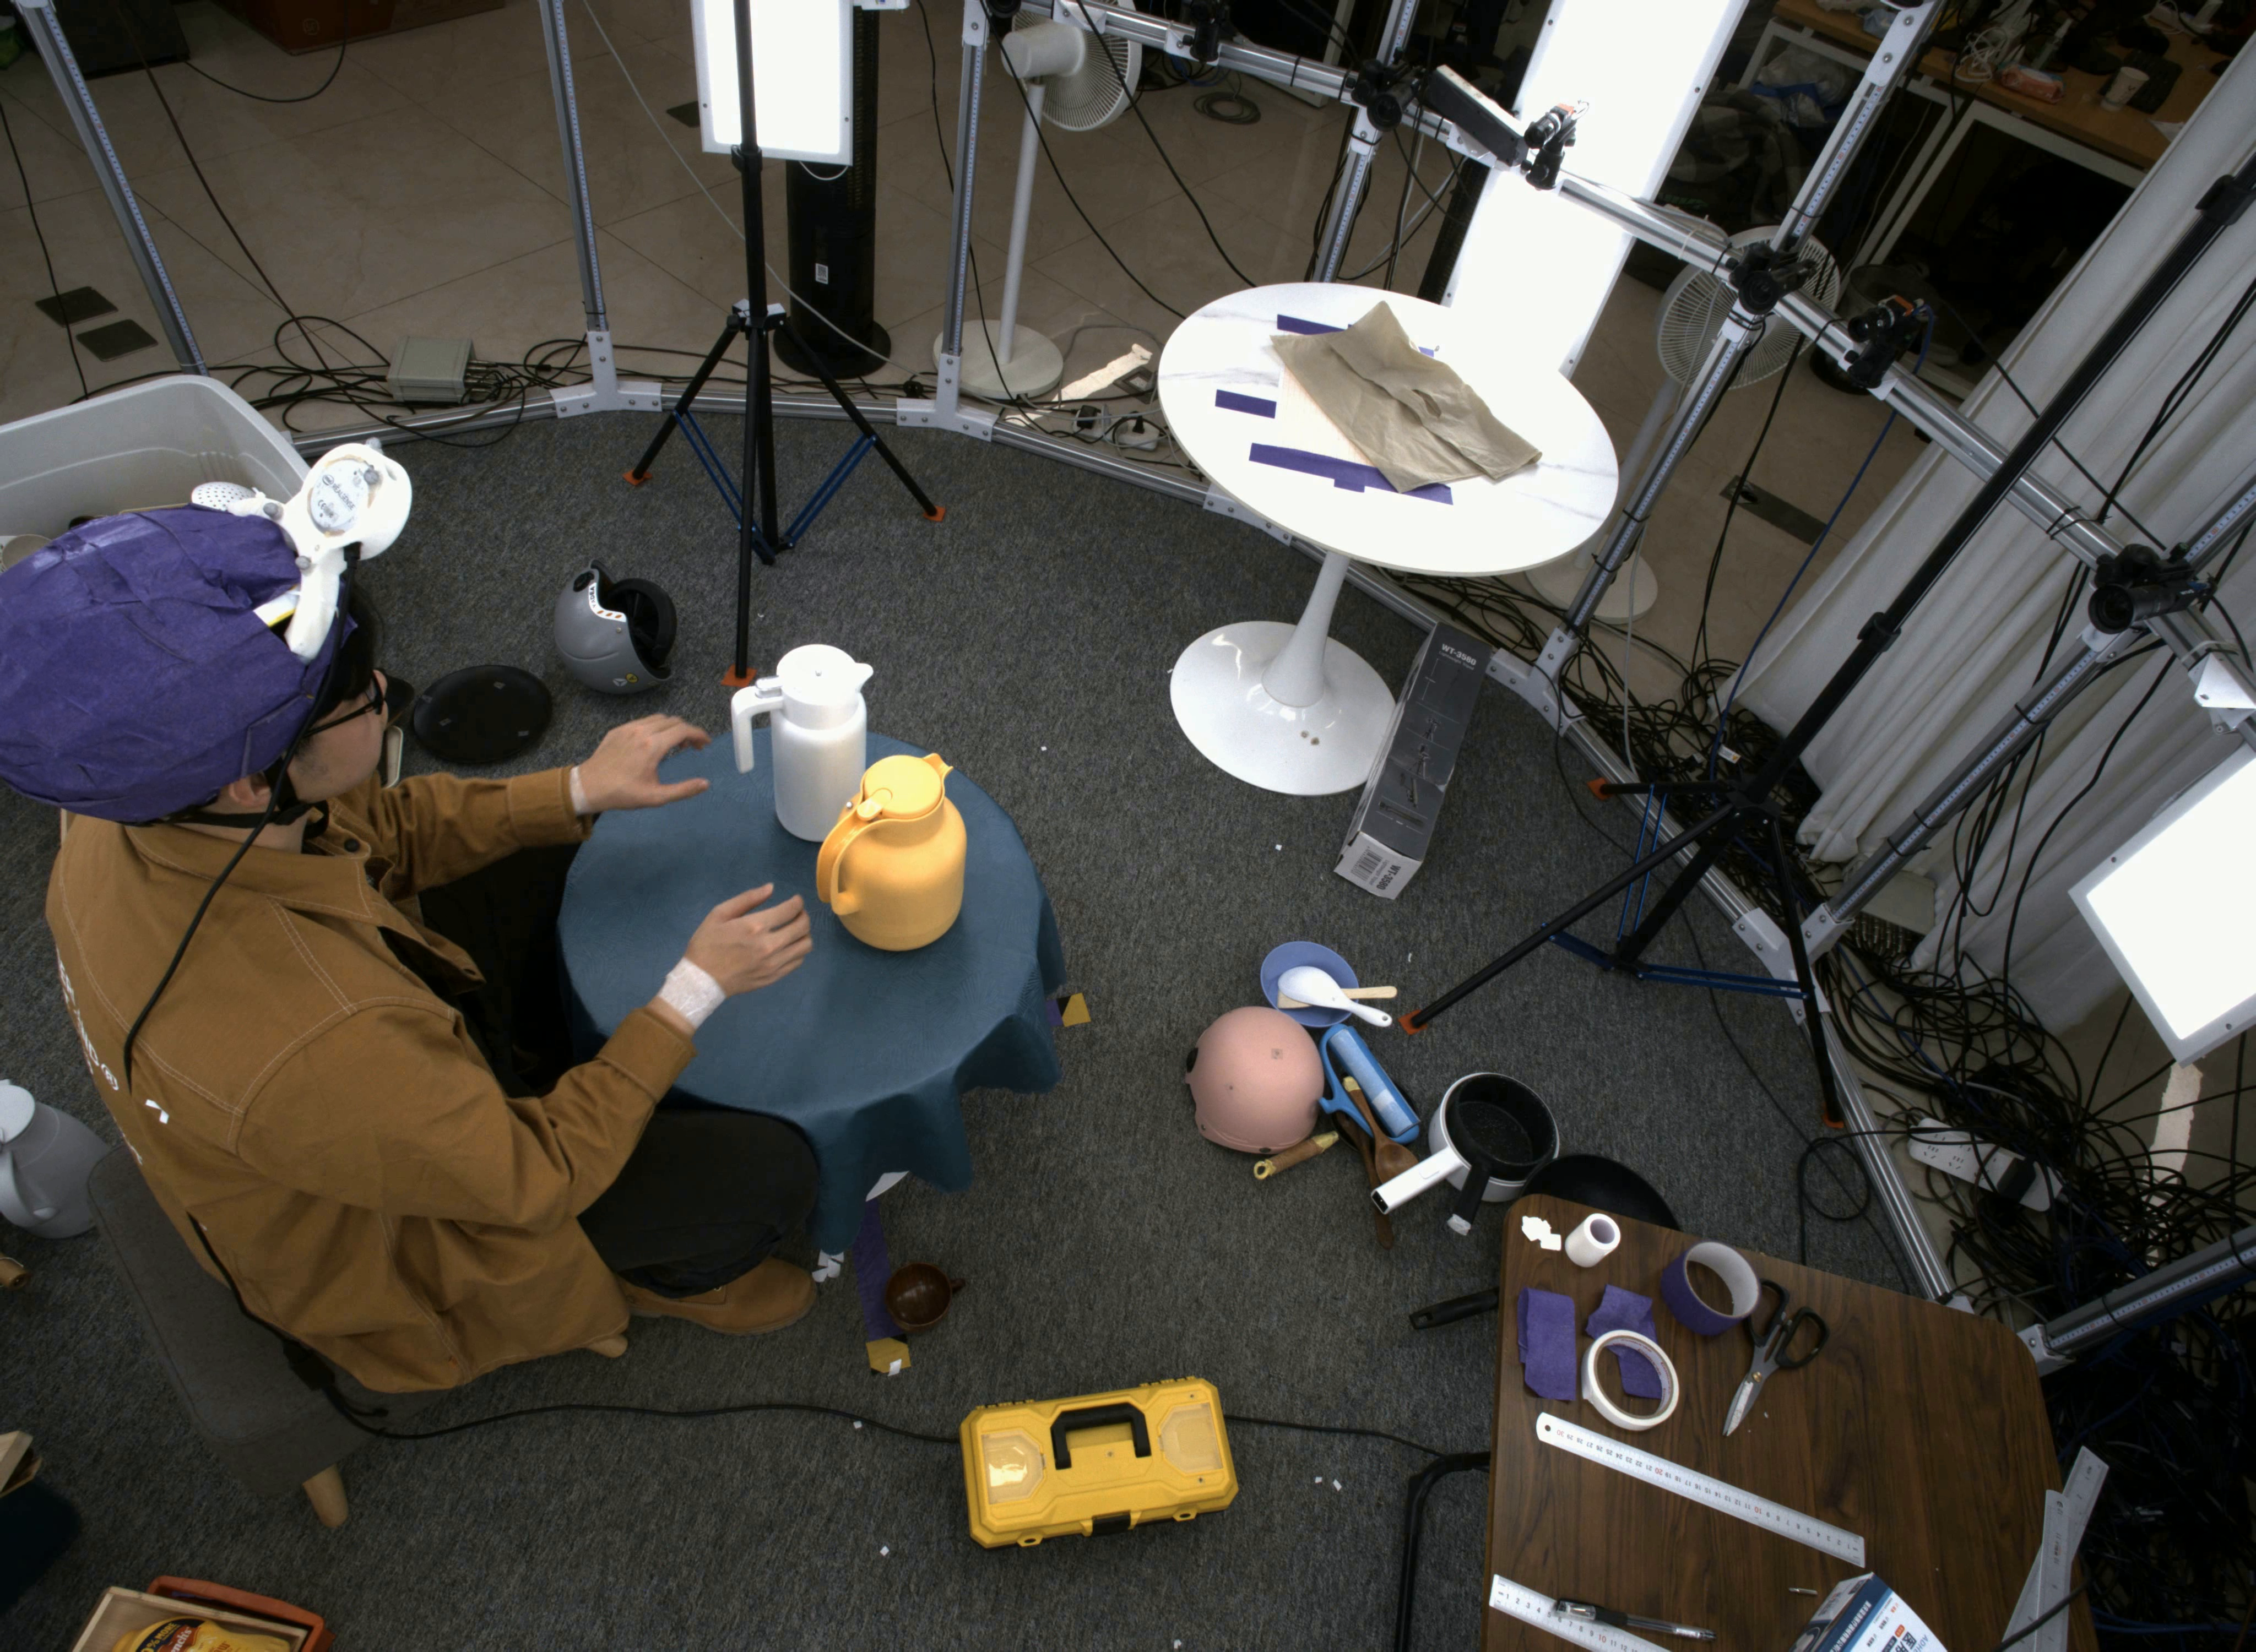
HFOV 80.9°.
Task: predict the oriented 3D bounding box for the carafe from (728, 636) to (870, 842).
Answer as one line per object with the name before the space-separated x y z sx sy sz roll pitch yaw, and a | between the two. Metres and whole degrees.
carafe | -0.408 -0.101 1.627 0.173 0.274 0.121 -15 59 -22

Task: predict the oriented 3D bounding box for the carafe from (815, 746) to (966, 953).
carafe | -0.290 0.031 1.561 0.159 0.267 0.203 37 52 21
